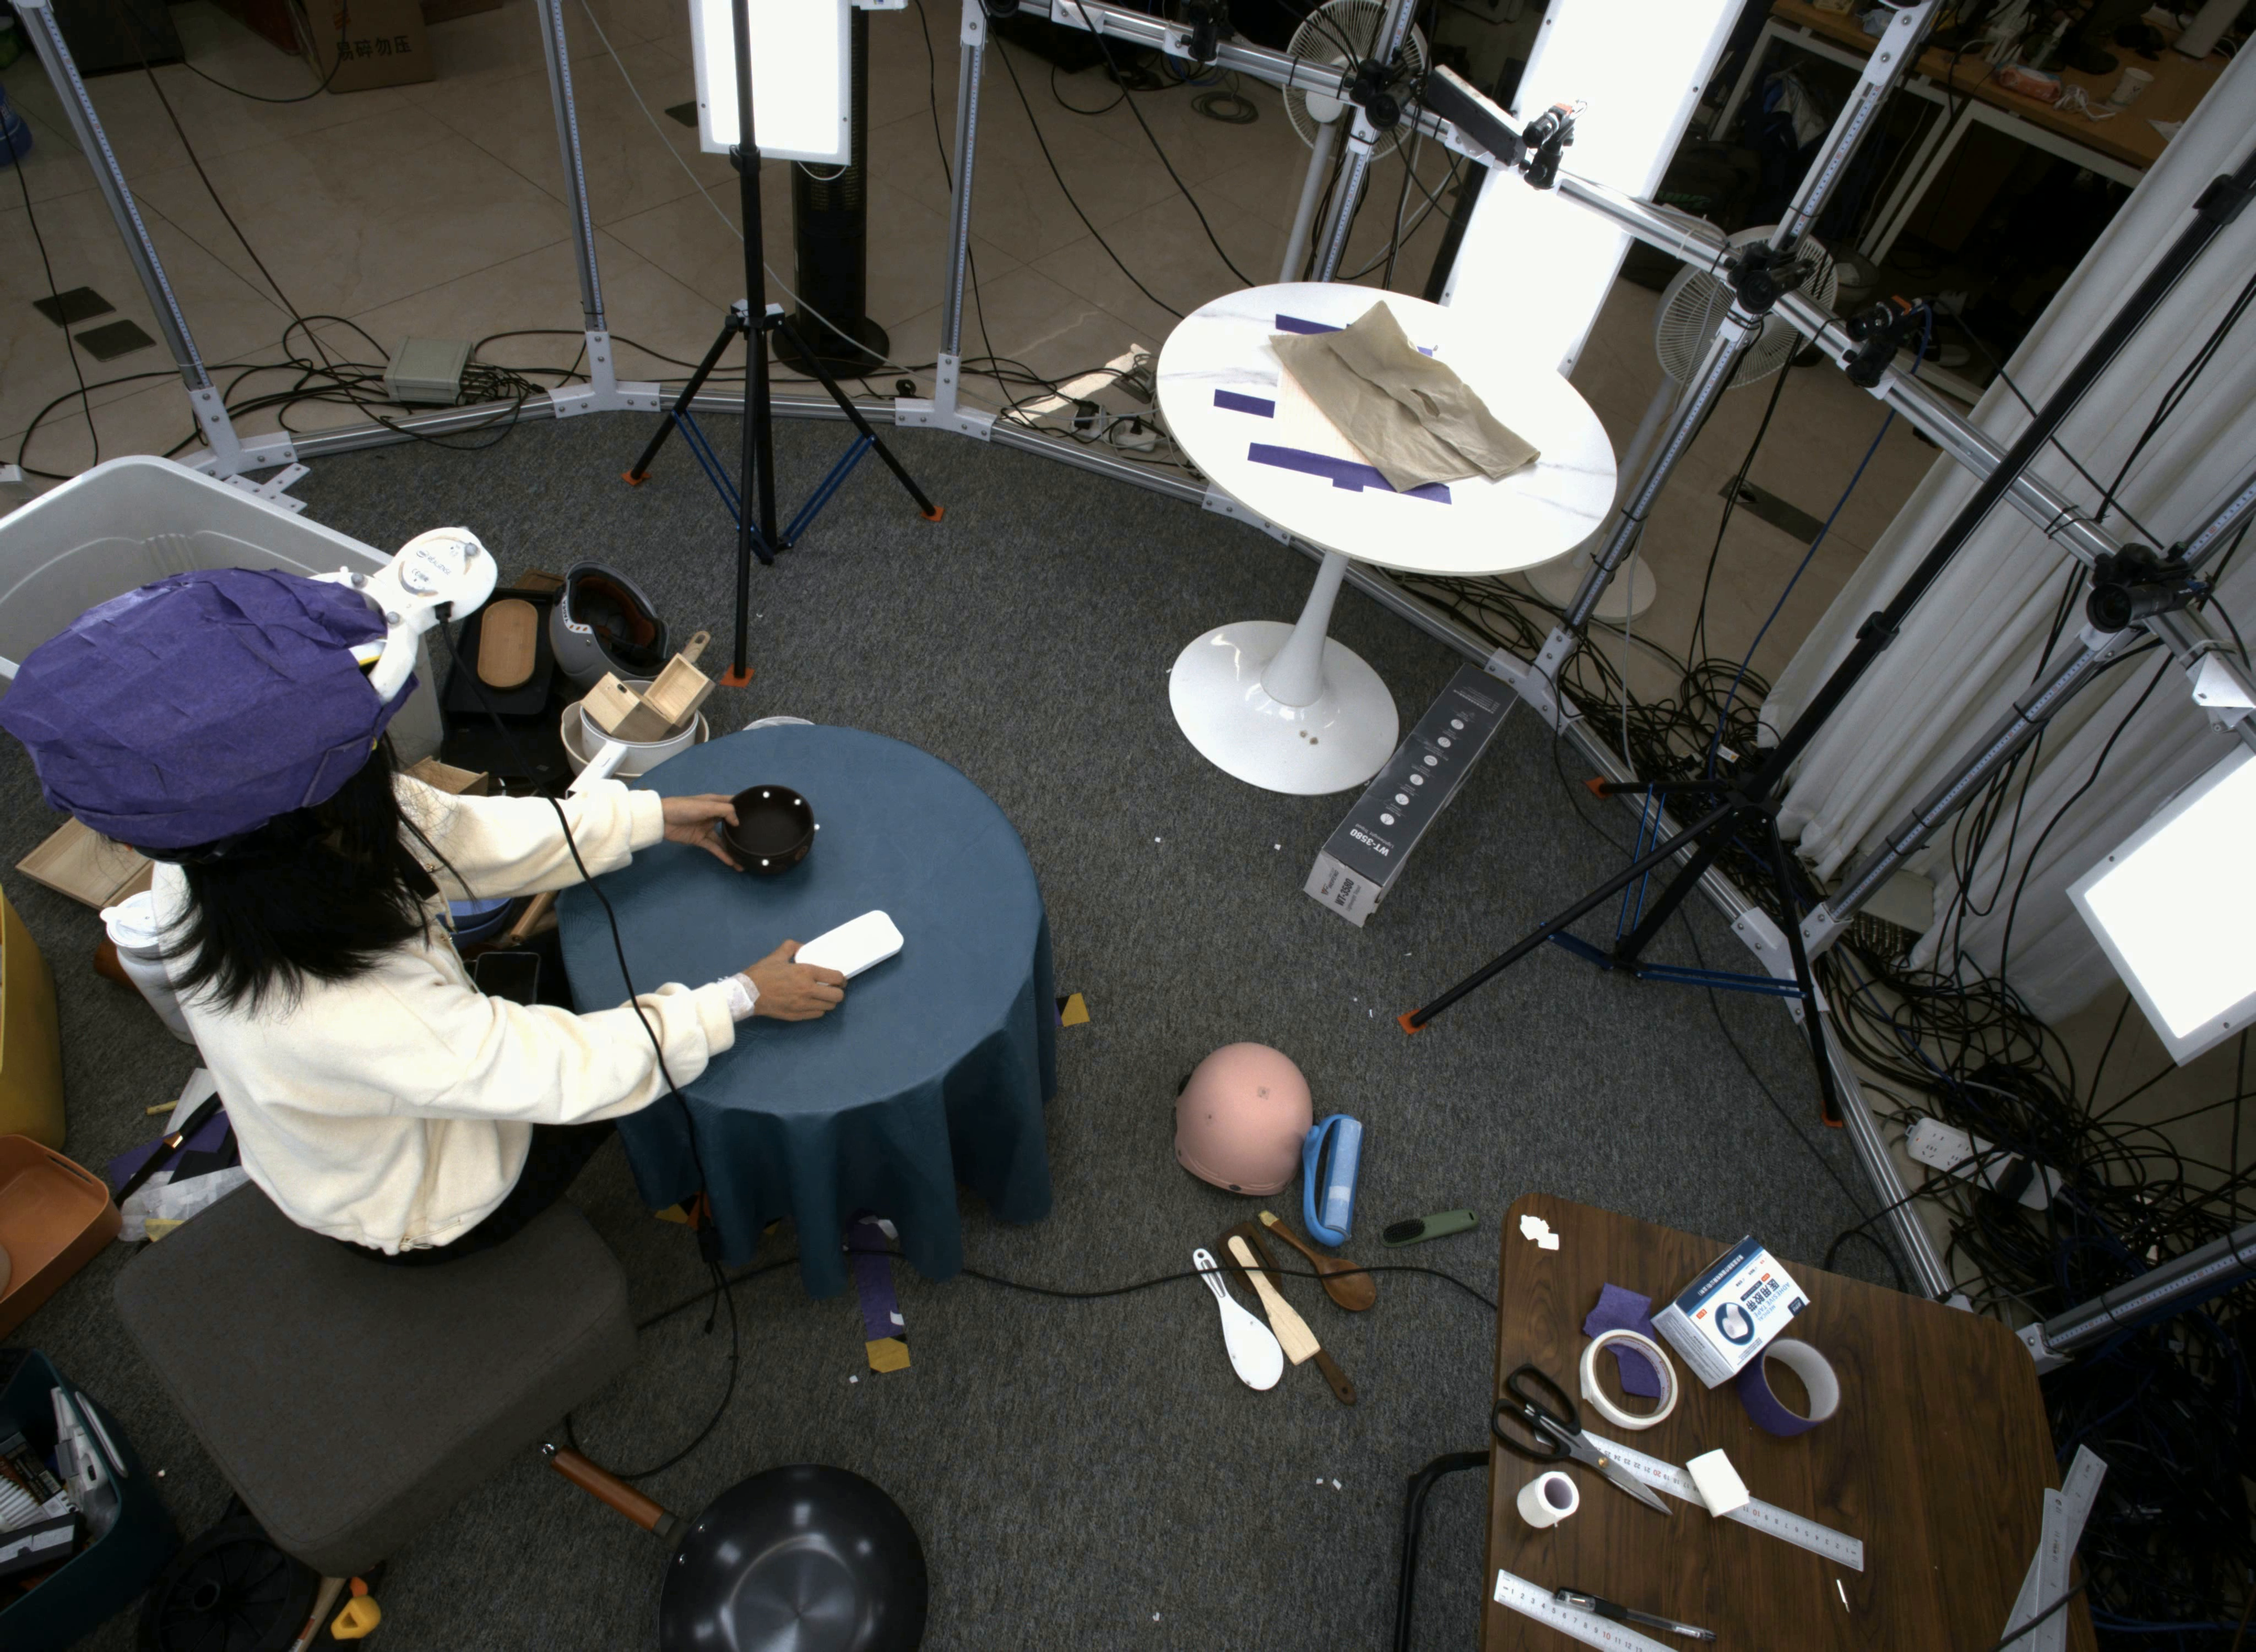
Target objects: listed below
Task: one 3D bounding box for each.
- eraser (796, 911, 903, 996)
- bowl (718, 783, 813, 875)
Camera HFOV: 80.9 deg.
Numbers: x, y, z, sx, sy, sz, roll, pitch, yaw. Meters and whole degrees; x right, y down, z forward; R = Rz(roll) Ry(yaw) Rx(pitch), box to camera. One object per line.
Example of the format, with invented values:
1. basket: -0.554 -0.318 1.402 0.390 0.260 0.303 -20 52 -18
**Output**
1. eraser: -0.344 0.153 1.603 0.132 0.035 0.062 -29 69 -32
2. bowl: -0.462 0.011 1.654 0.117 0.071 0.116 6 51 -6
